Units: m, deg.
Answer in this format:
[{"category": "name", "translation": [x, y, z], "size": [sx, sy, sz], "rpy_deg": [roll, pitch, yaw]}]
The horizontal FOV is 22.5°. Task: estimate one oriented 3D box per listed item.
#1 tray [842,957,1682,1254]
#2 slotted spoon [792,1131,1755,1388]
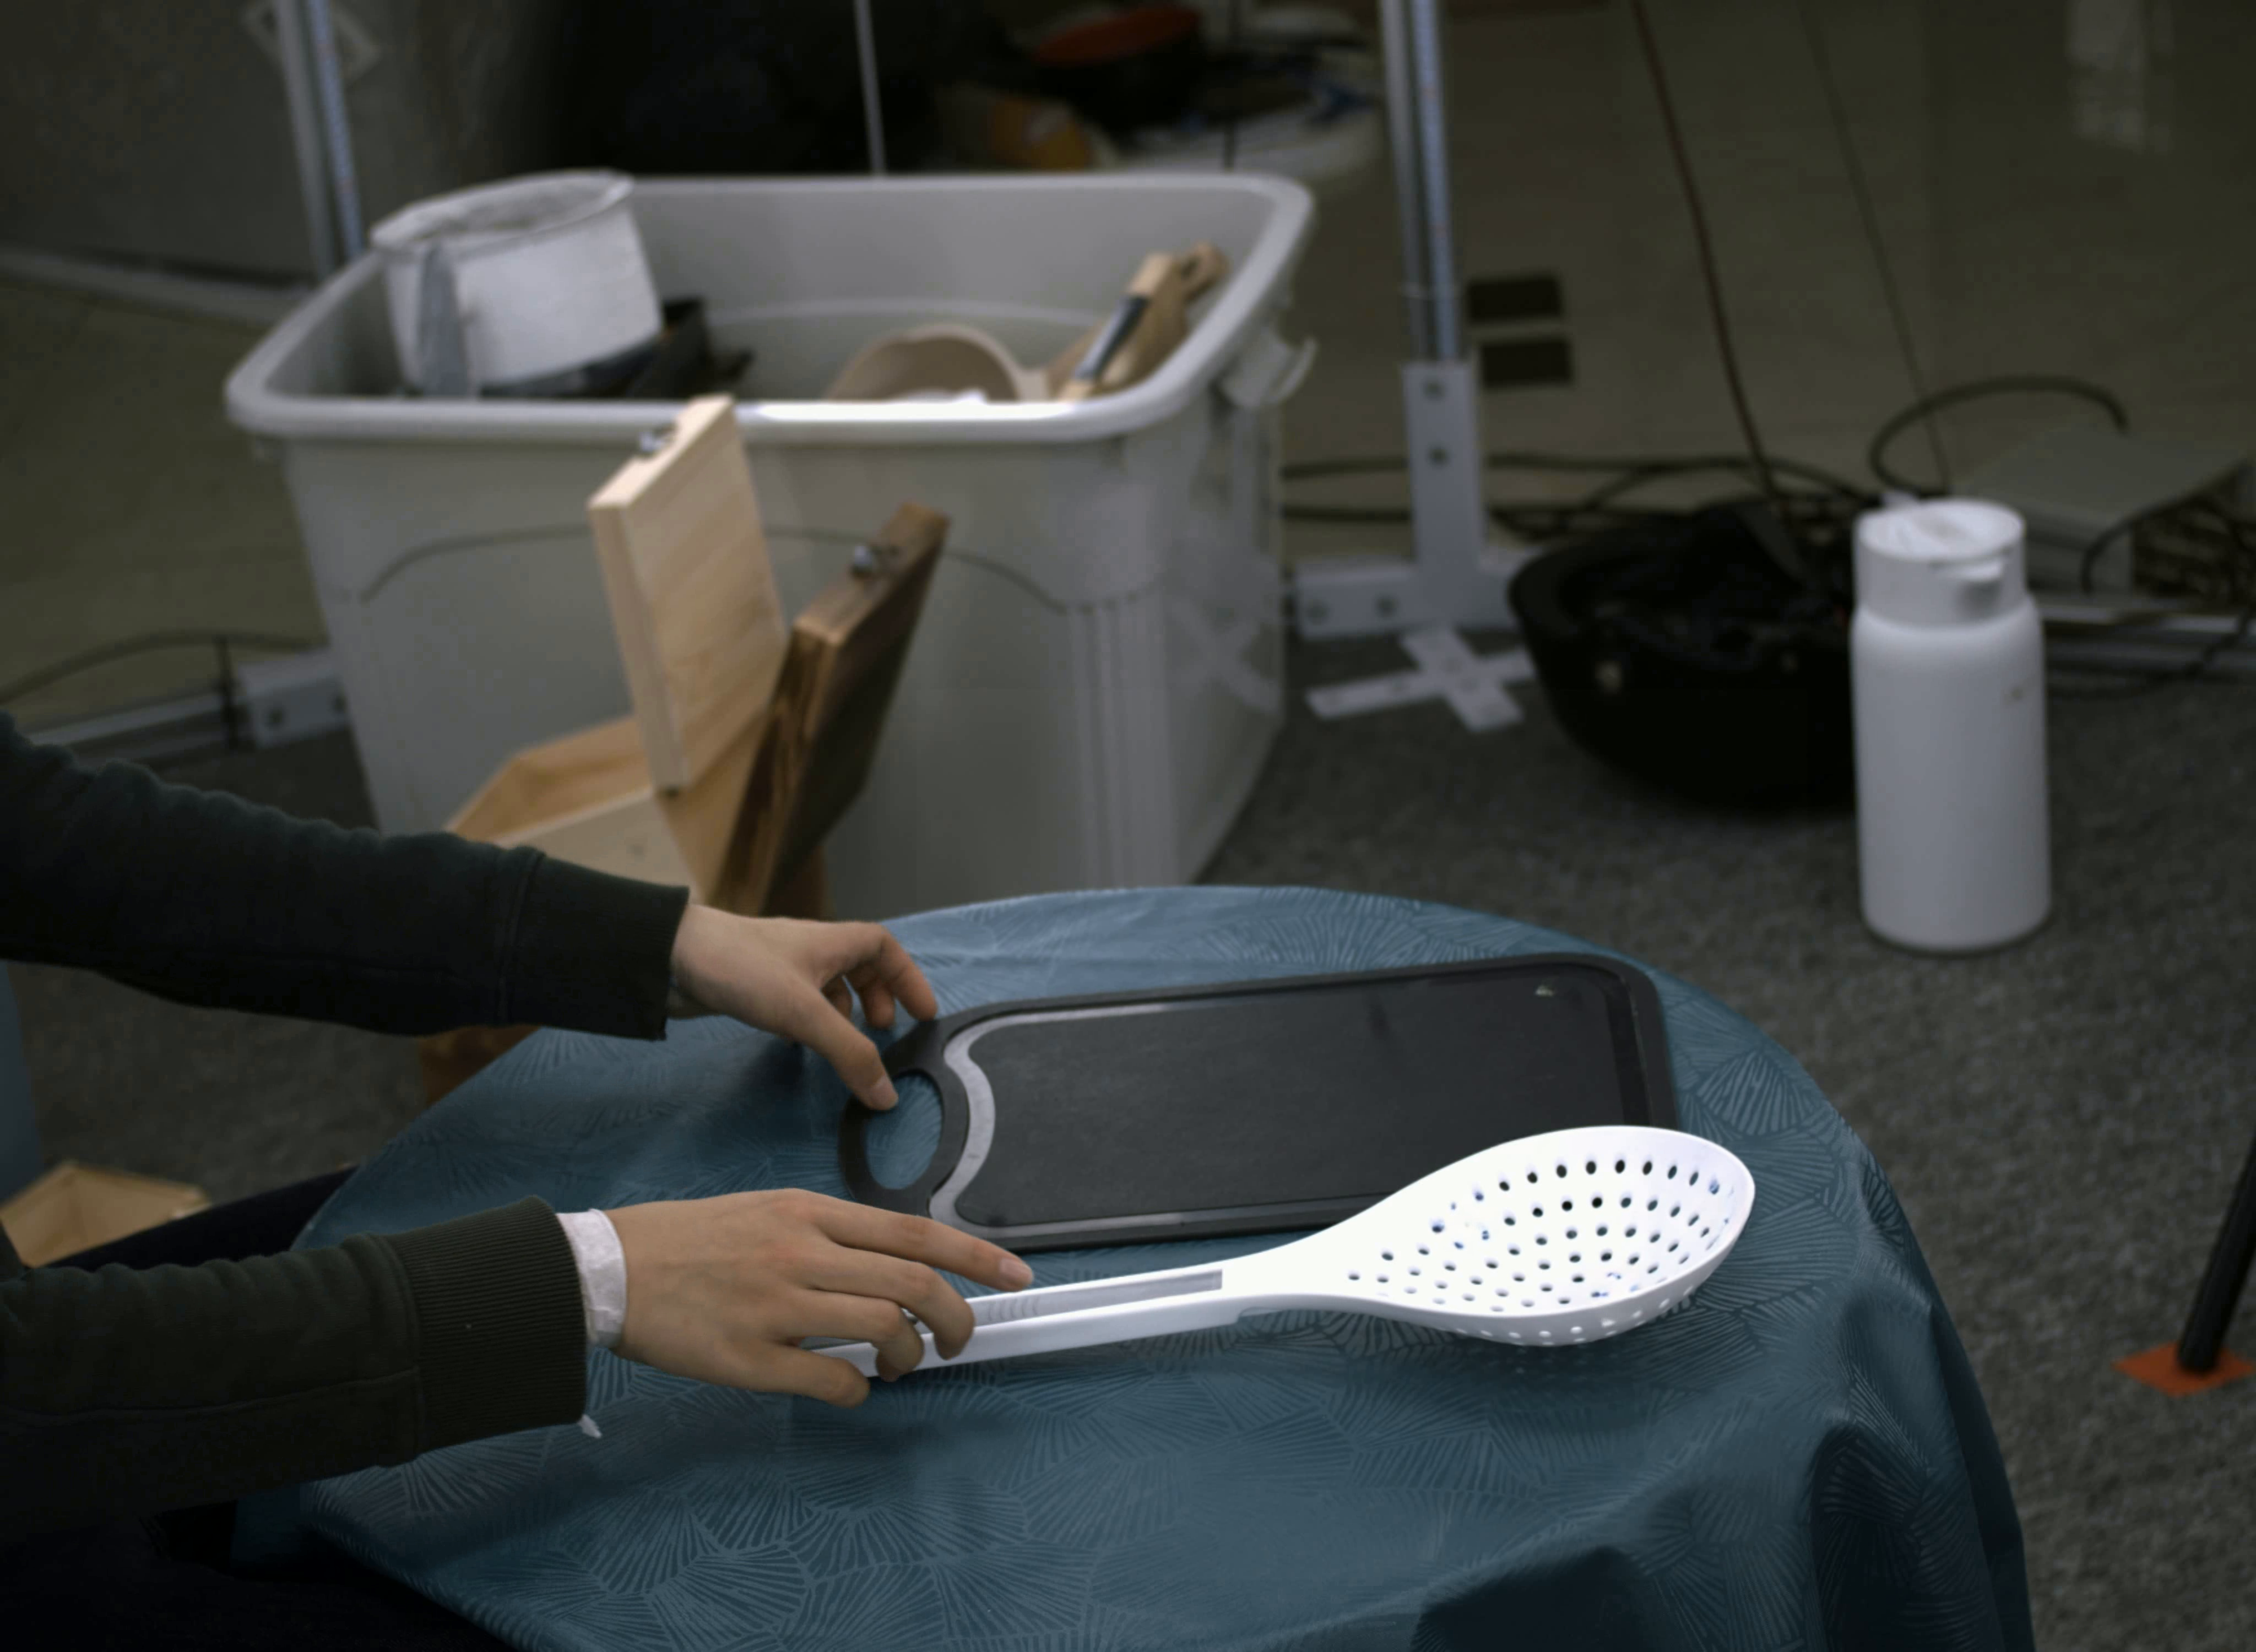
[{"category": "tray", "translation": [0.050, 0.106, 2.203], "size": [0.325, 0.010, 0.208], "rpy_deg": [-5, 24, 4]}, {"category": "slotted spoon", "translation": [0.051, 0.164, 2.032], "size": [0.349, 0.046, 0.134], "rpy_deg": [-5, 23, 5]}]
